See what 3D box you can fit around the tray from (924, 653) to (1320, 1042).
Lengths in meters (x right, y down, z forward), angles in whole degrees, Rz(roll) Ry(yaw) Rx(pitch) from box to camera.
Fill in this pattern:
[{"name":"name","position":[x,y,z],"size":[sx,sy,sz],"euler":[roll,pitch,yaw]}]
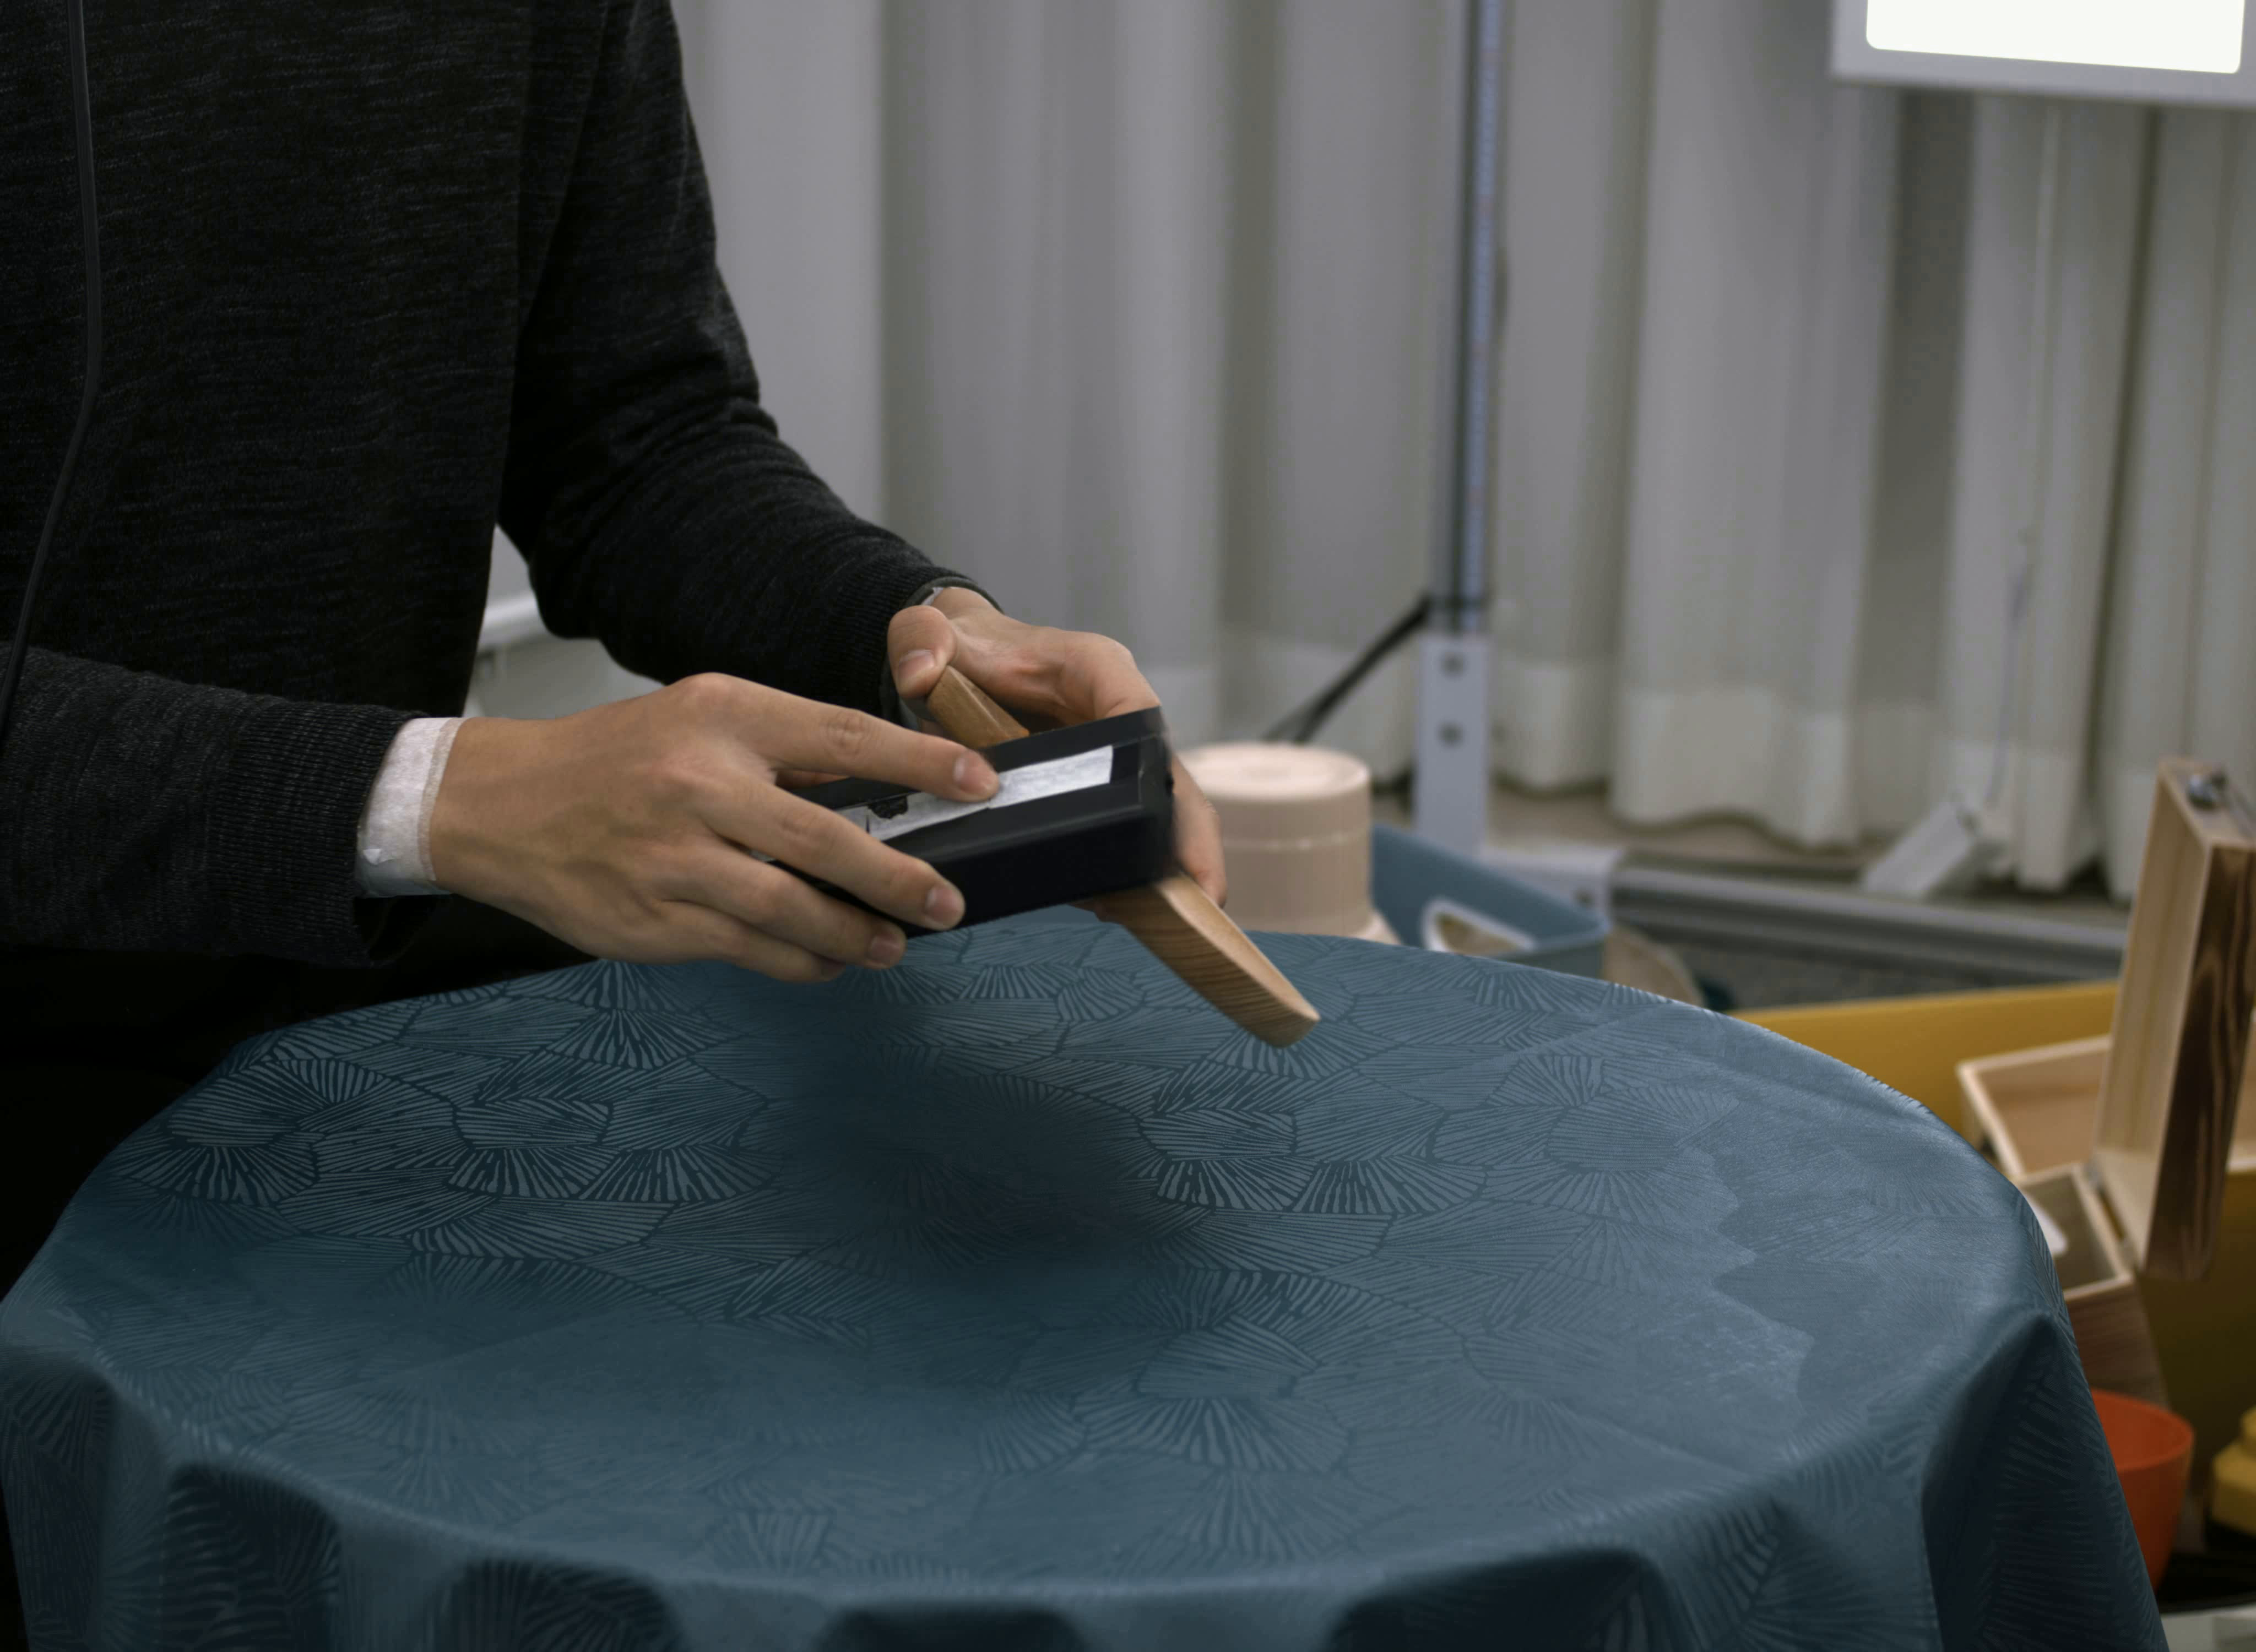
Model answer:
[{"name":"tray","position":[-0.005,0.006,1.623],"size":[0.103,0.020,0.228],"euler":[43,0,-28]}]

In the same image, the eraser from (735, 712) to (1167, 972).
[{"name":"eraser","position":[-0.050,0.004,1.518],"size":[0.125,0.031,0.053],"euler":[-14,35,8]}]
